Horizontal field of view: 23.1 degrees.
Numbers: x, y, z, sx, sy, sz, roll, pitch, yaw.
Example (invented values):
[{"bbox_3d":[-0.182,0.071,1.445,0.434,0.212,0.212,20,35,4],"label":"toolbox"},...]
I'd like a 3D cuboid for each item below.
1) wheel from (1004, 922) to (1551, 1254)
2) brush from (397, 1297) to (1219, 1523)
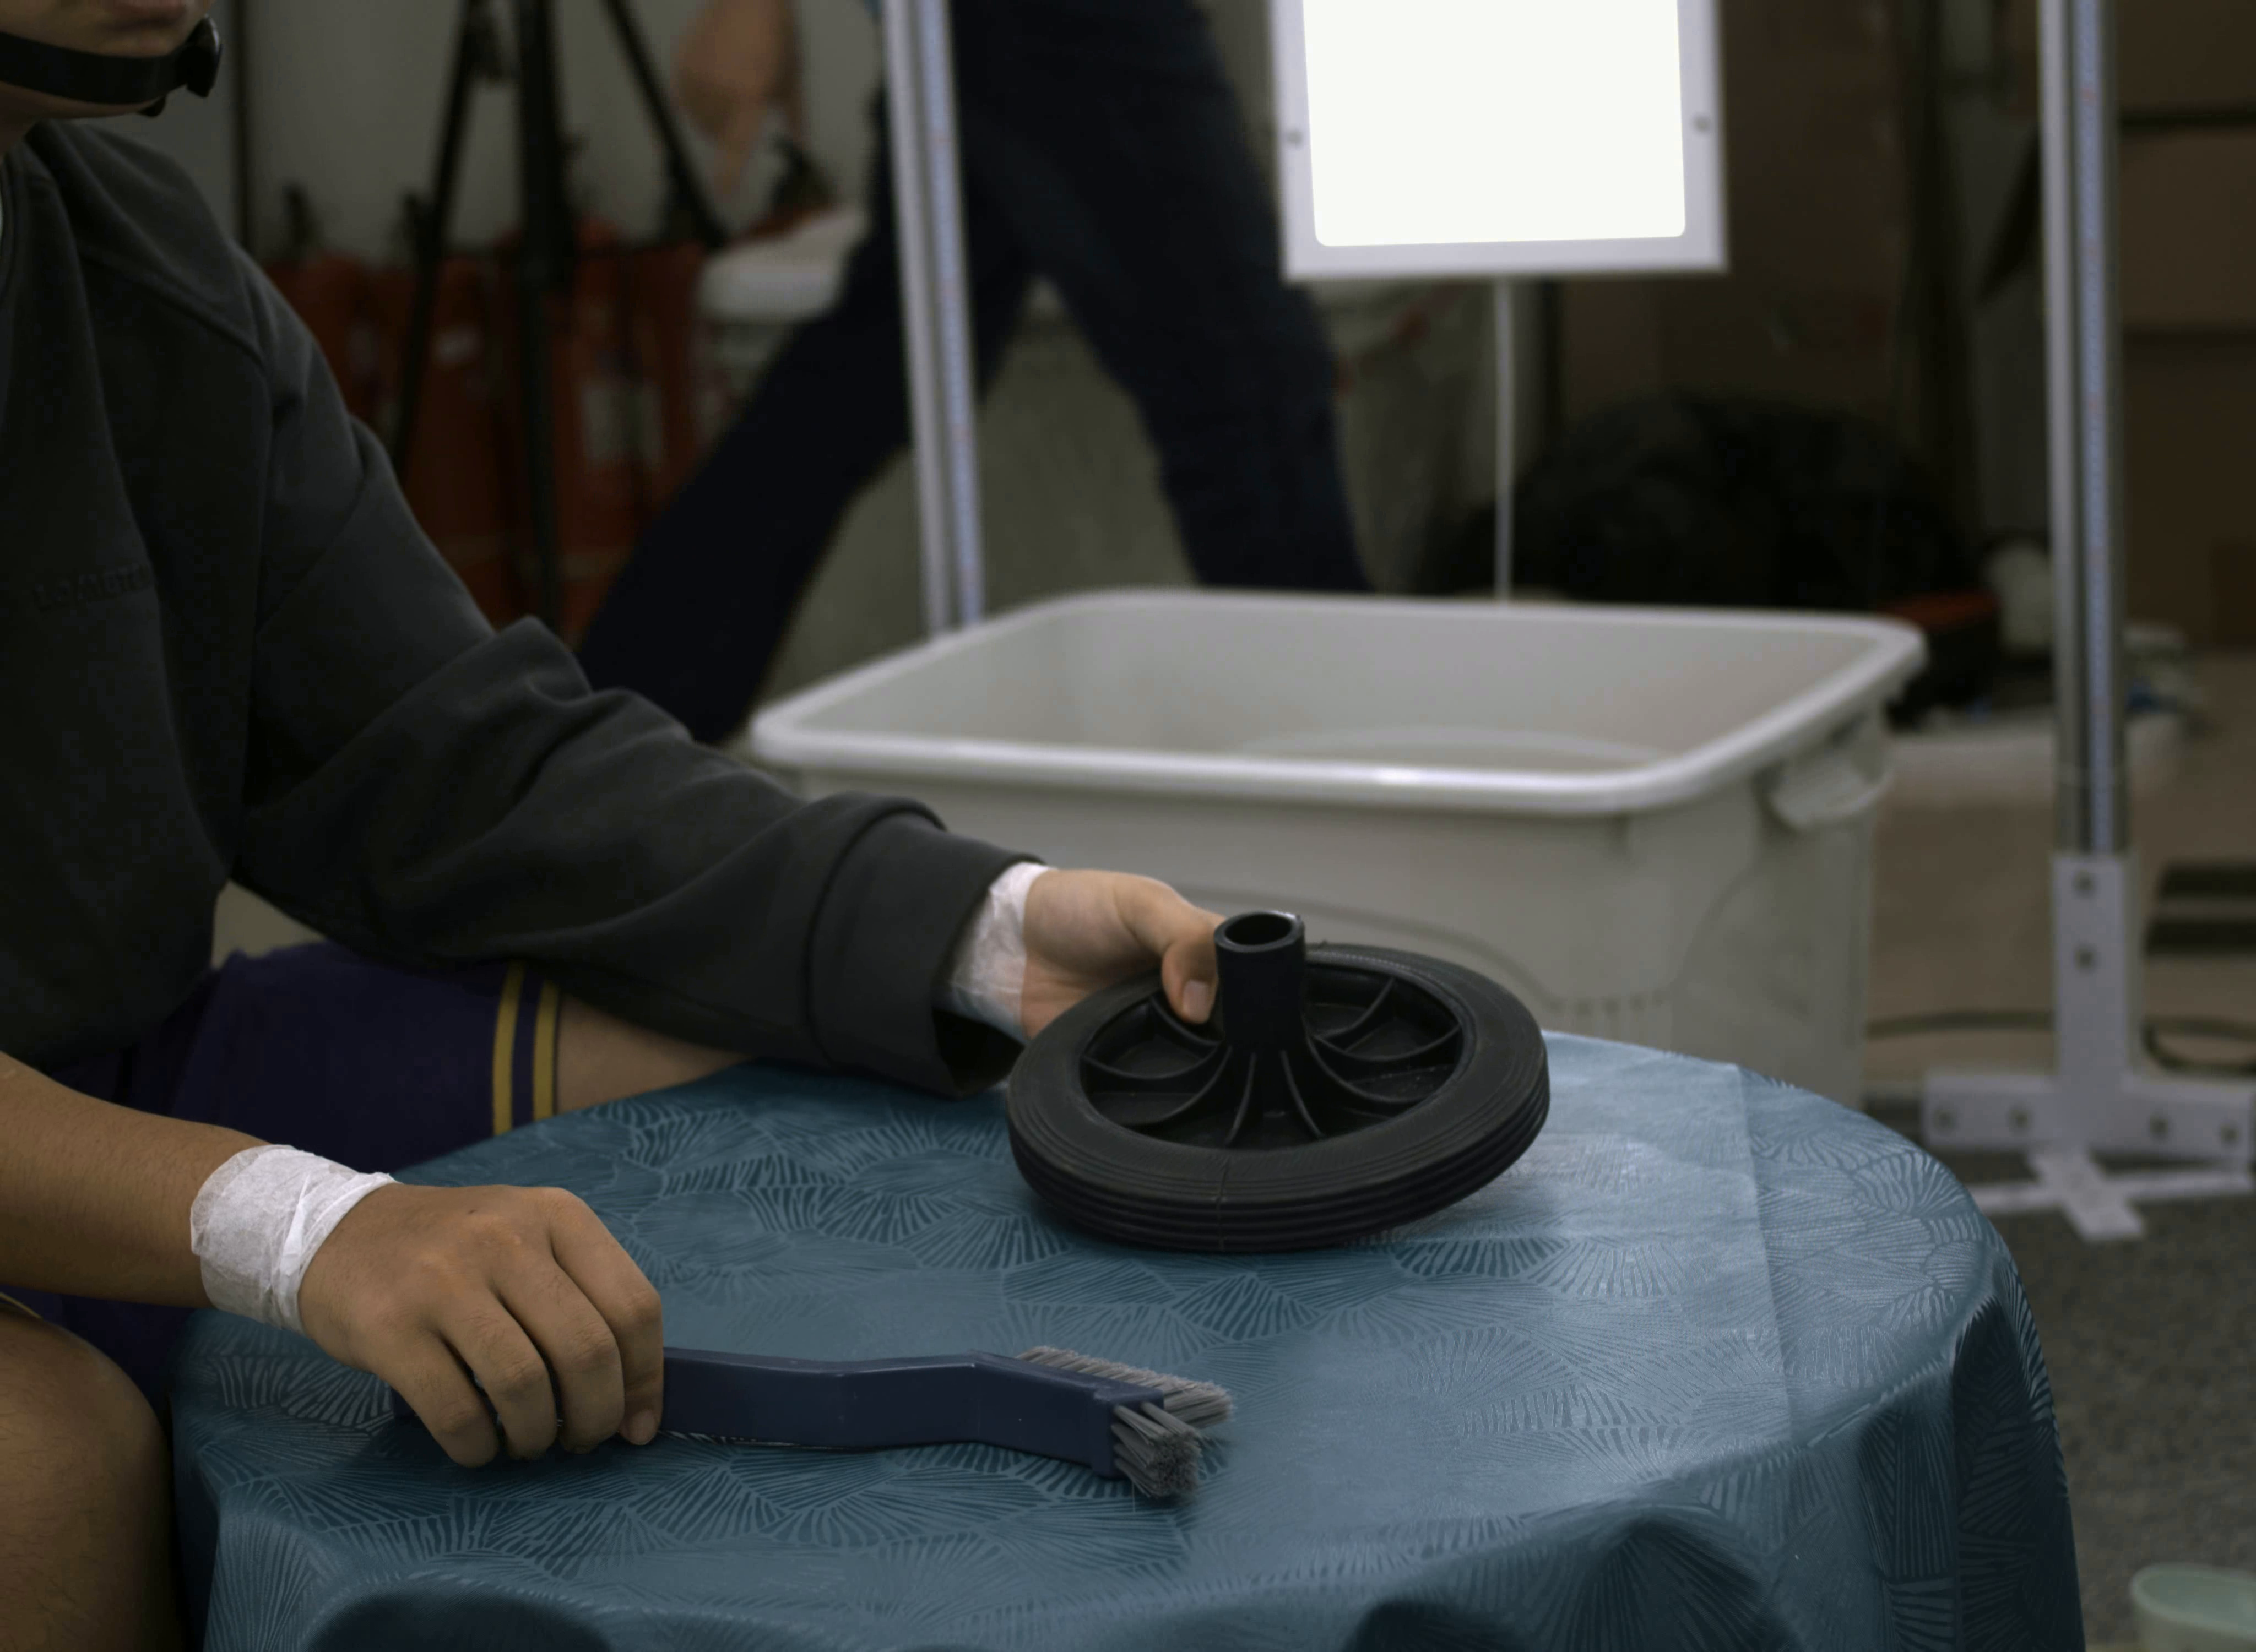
[{"bbox_3d":[0.049,0.074,1.886,0.183,0.079,0.193,-27,30,-33],"label":"wheel"},{"bbox_3d":[-0.107,0.174,1.672,0.276,0.033,0.094,1,15,18],"label":"brush"}]
